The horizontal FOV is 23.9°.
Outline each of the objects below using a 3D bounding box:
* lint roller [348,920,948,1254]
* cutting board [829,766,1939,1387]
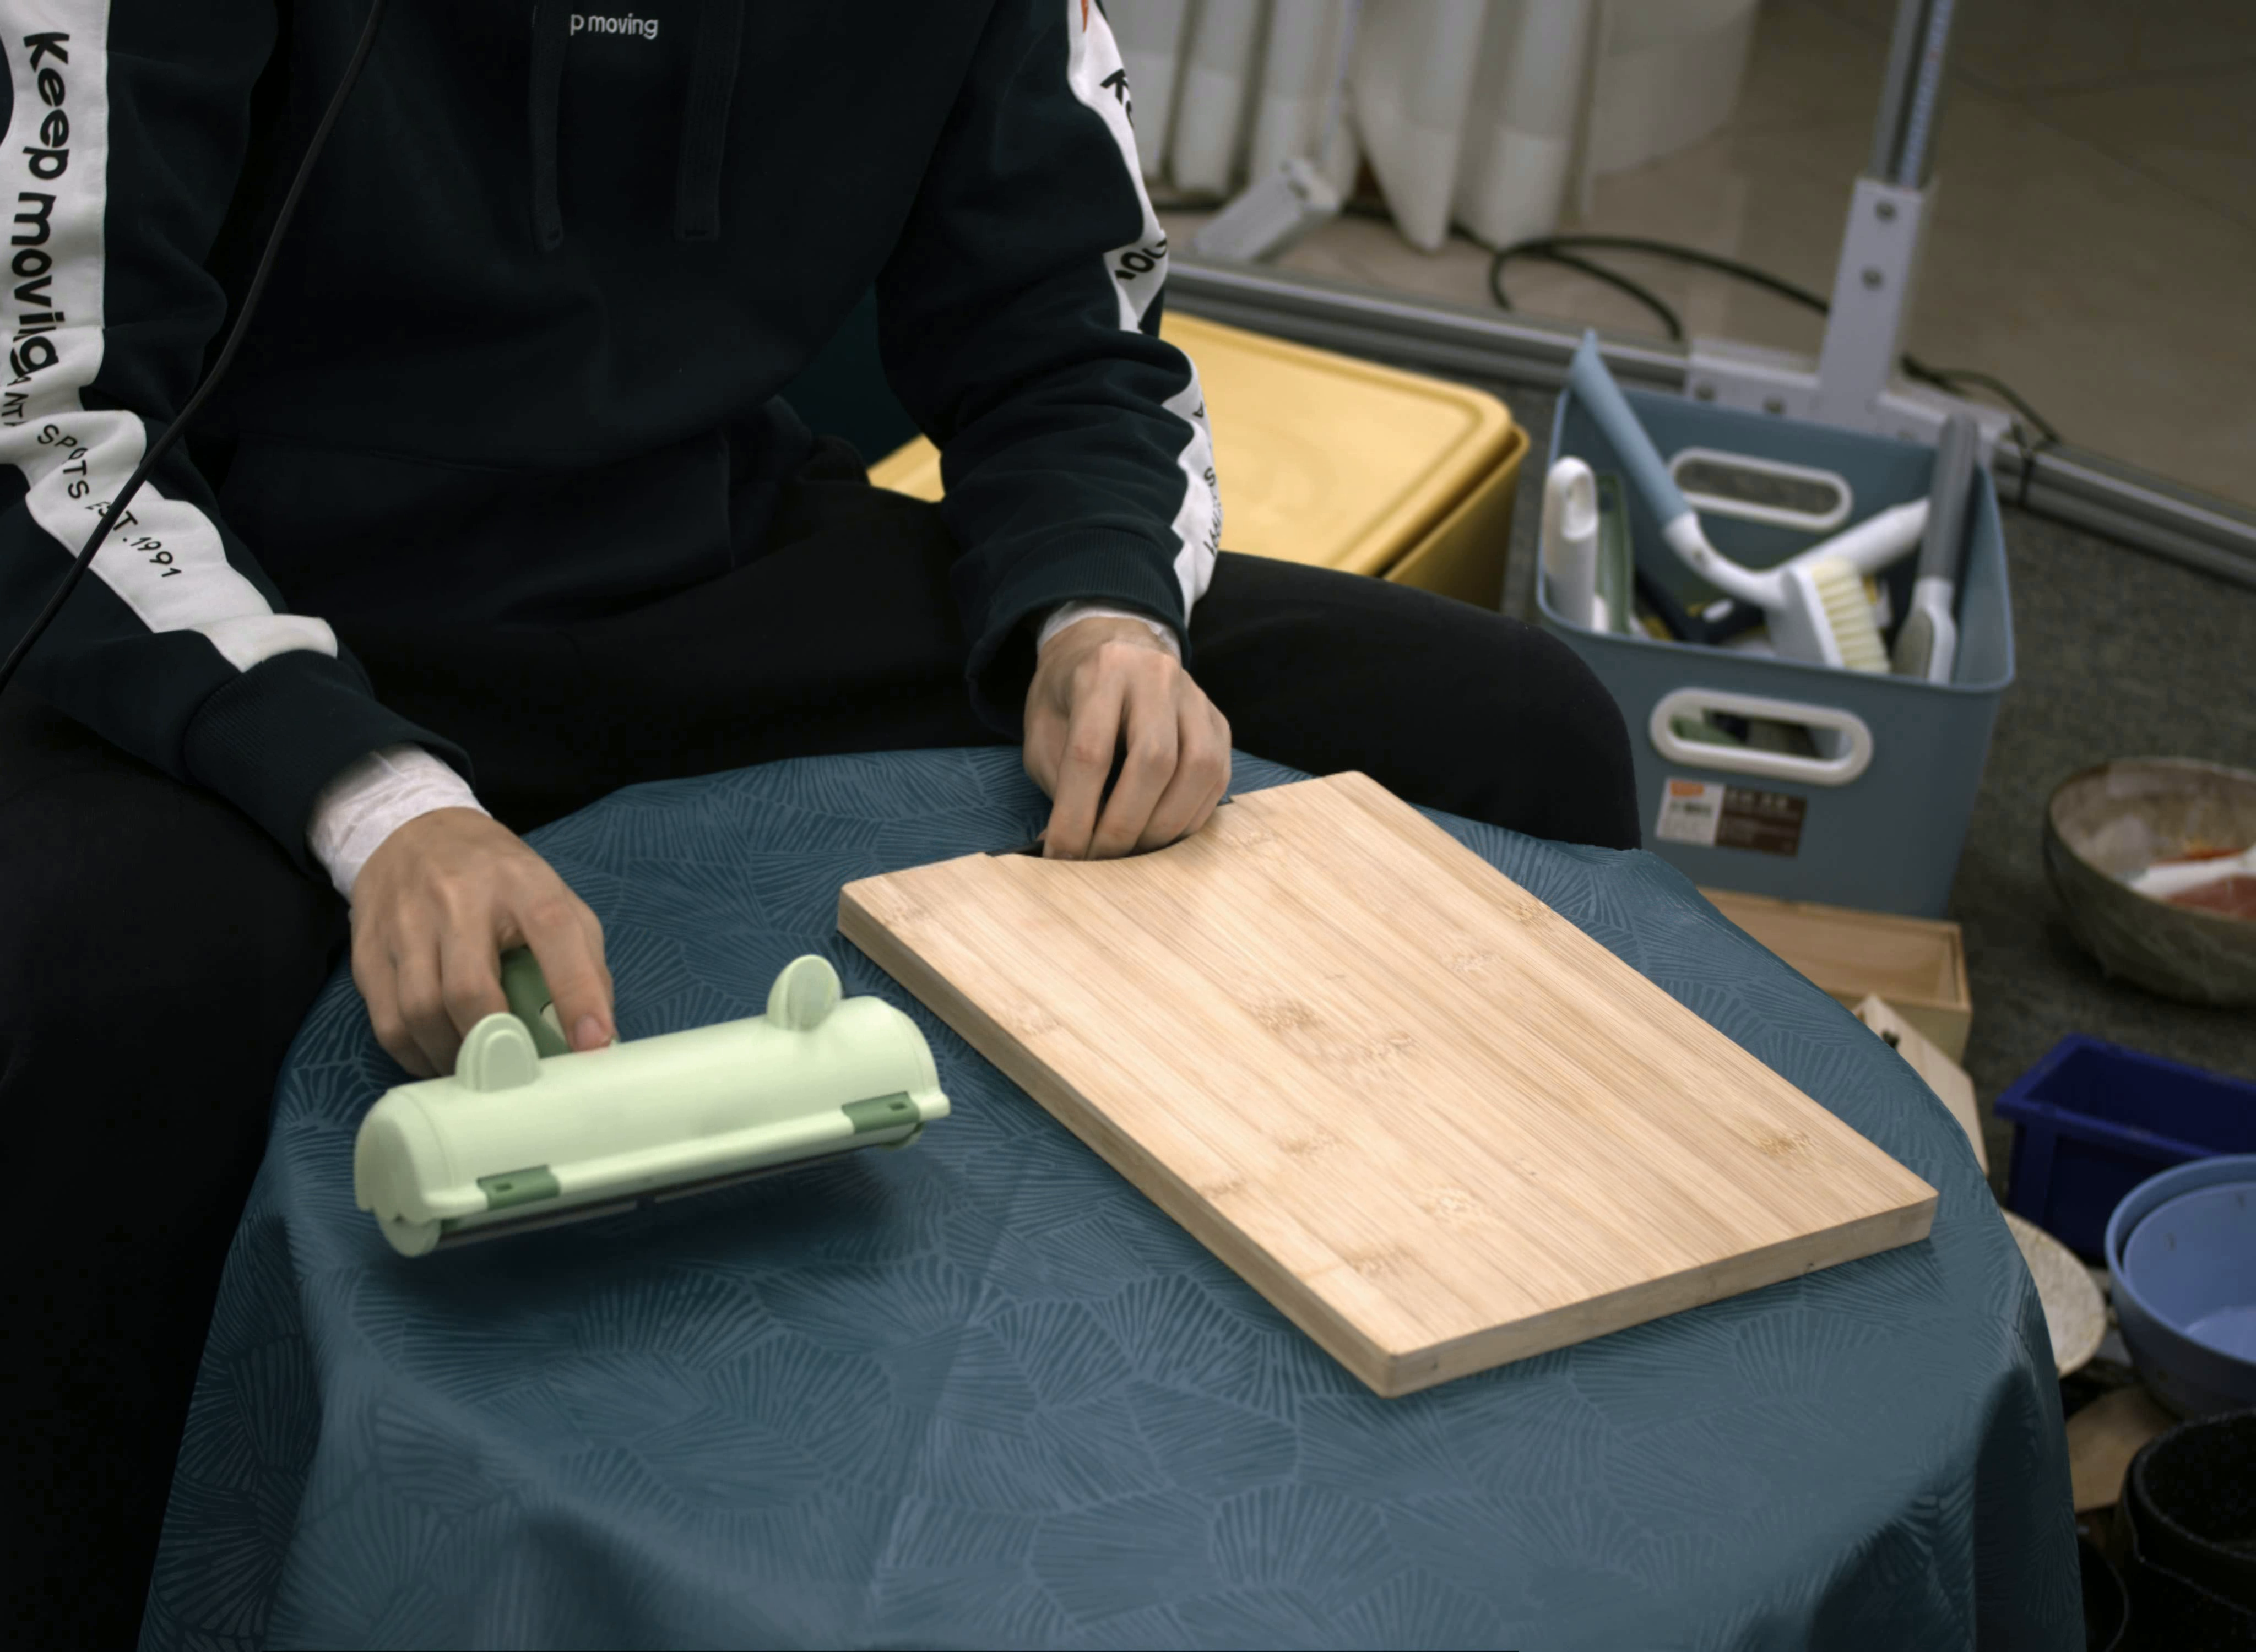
[{"bbox_3d":[-0.183,0.061,1.763,0.197,0.082,0.185,-10,37,-33],"label":"lint roller"},{"bbox_3d":[0.084,0.080,1.884,0.249,0.023,0.352,-12,33,-33],"label":"cutting board"}]
